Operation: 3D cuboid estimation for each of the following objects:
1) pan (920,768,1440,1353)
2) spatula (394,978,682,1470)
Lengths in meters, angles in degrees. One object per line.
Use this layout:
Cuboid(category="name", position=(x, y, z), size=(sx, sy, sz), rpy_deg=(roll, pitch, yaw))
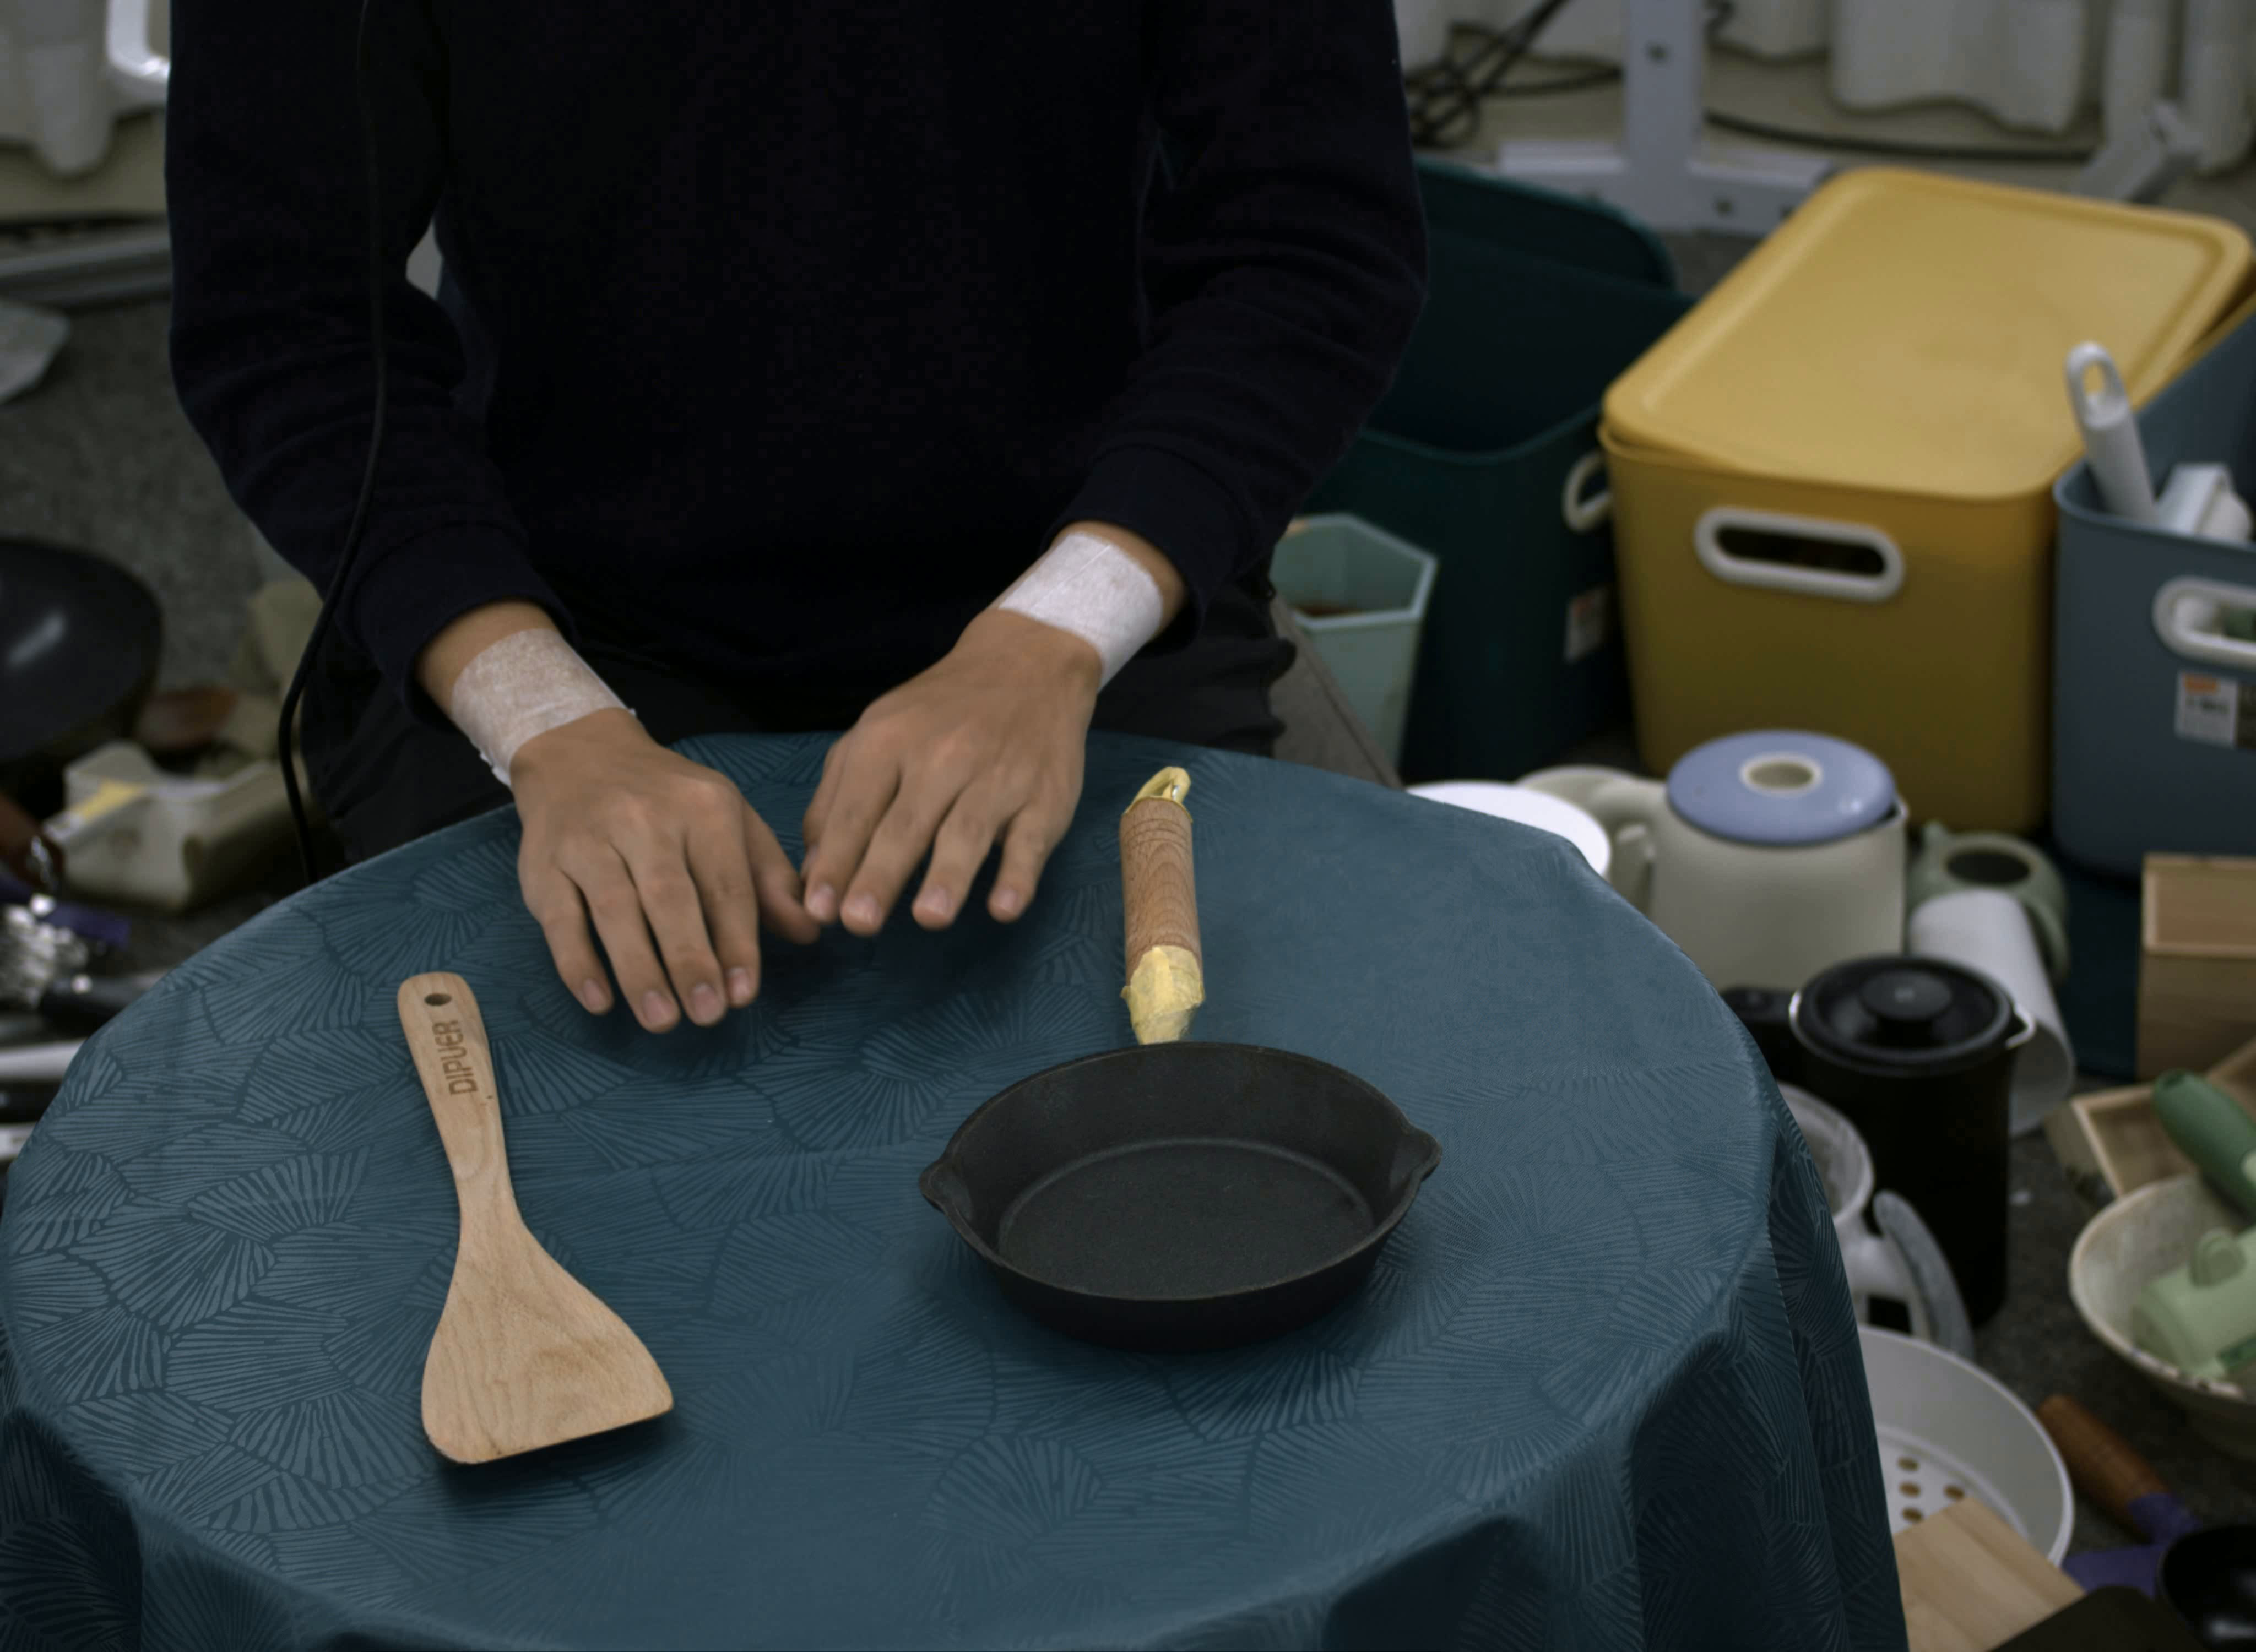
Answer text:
Cuboid(category="pan", position=(0.017, 0.076, 1.894), size=(0.168, 0.049, 0.329), rpy_deg=(-3, 29, 1))
Cuboid(category="spatula", position=(-0.210, 0.125, 1.859), size=(0.080, 0.016, 0.331), rpy_deg=(-8, 28, -11))
